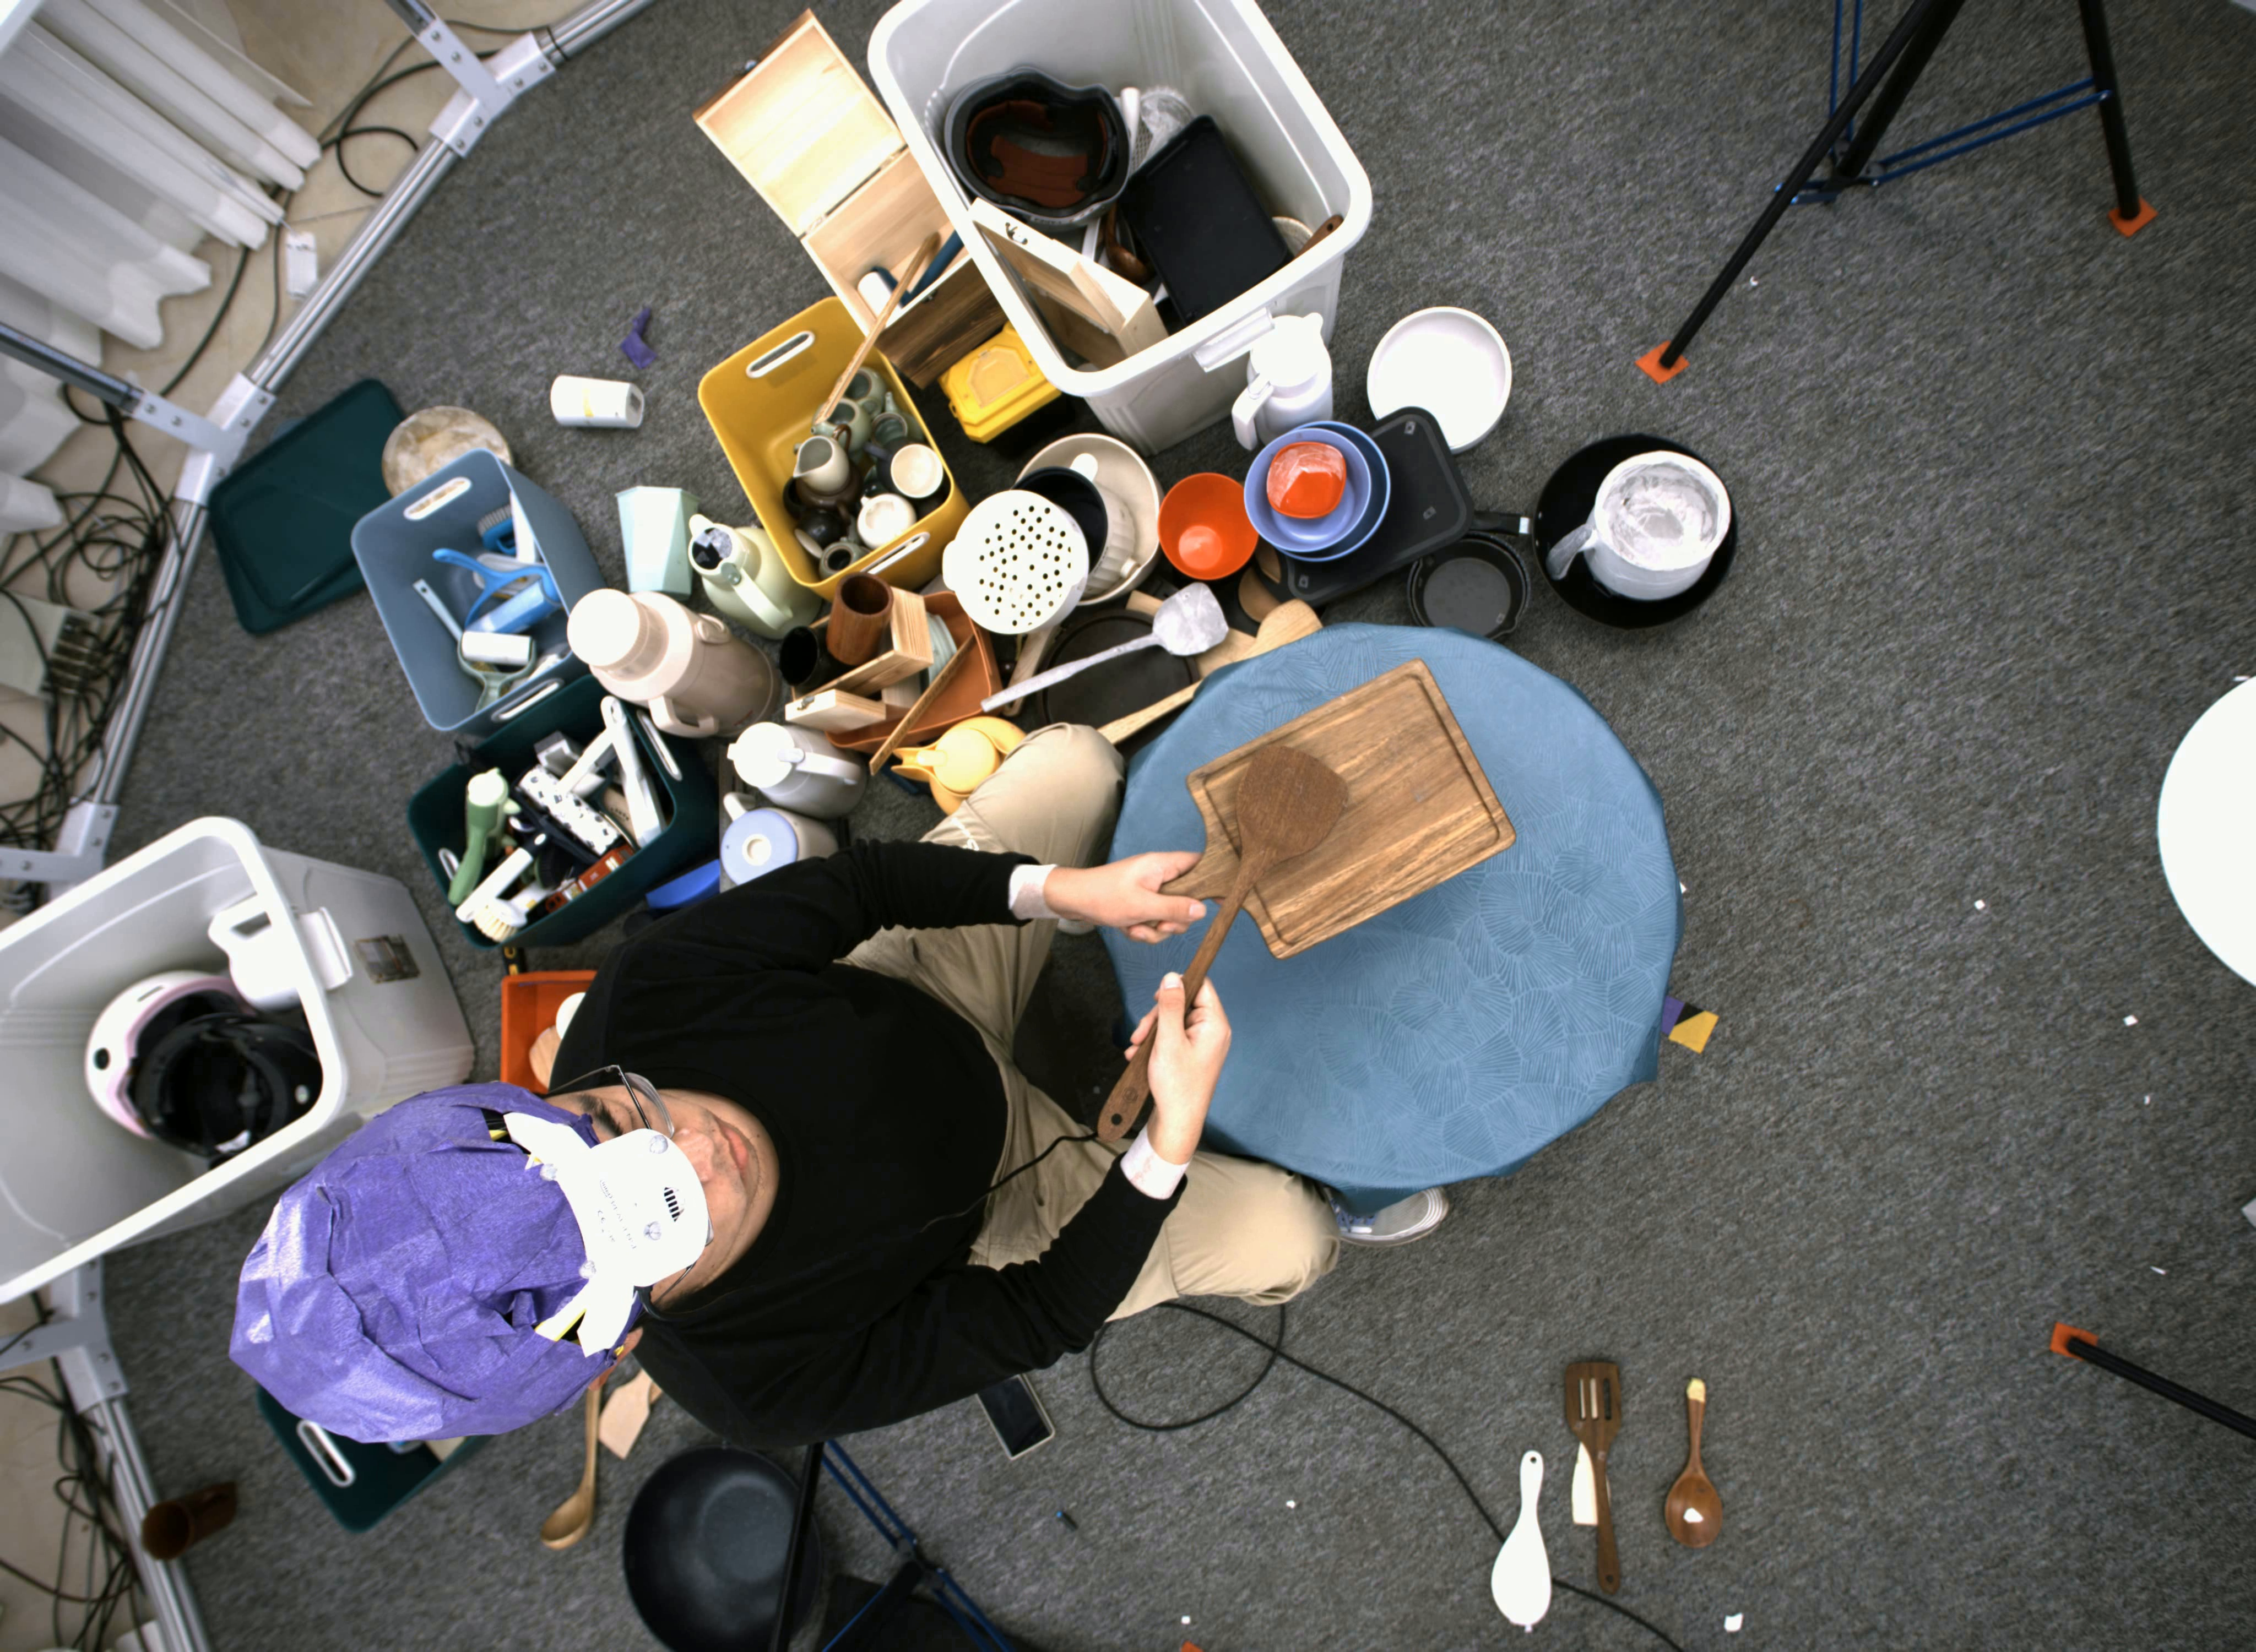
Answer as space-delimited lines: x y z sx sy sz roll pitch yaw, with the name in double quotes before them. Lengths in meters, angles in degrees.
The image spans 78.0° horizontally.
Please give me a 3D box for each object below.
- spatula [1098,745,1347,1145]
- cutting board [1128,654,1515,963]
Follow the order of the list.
"spatula" 0.071 0.107 1.219 0.096 0.016 0.384 28 86 4
"cutting board" 0.156 0.006 1.275 0.353 0.023 0.200 -28 87 6
